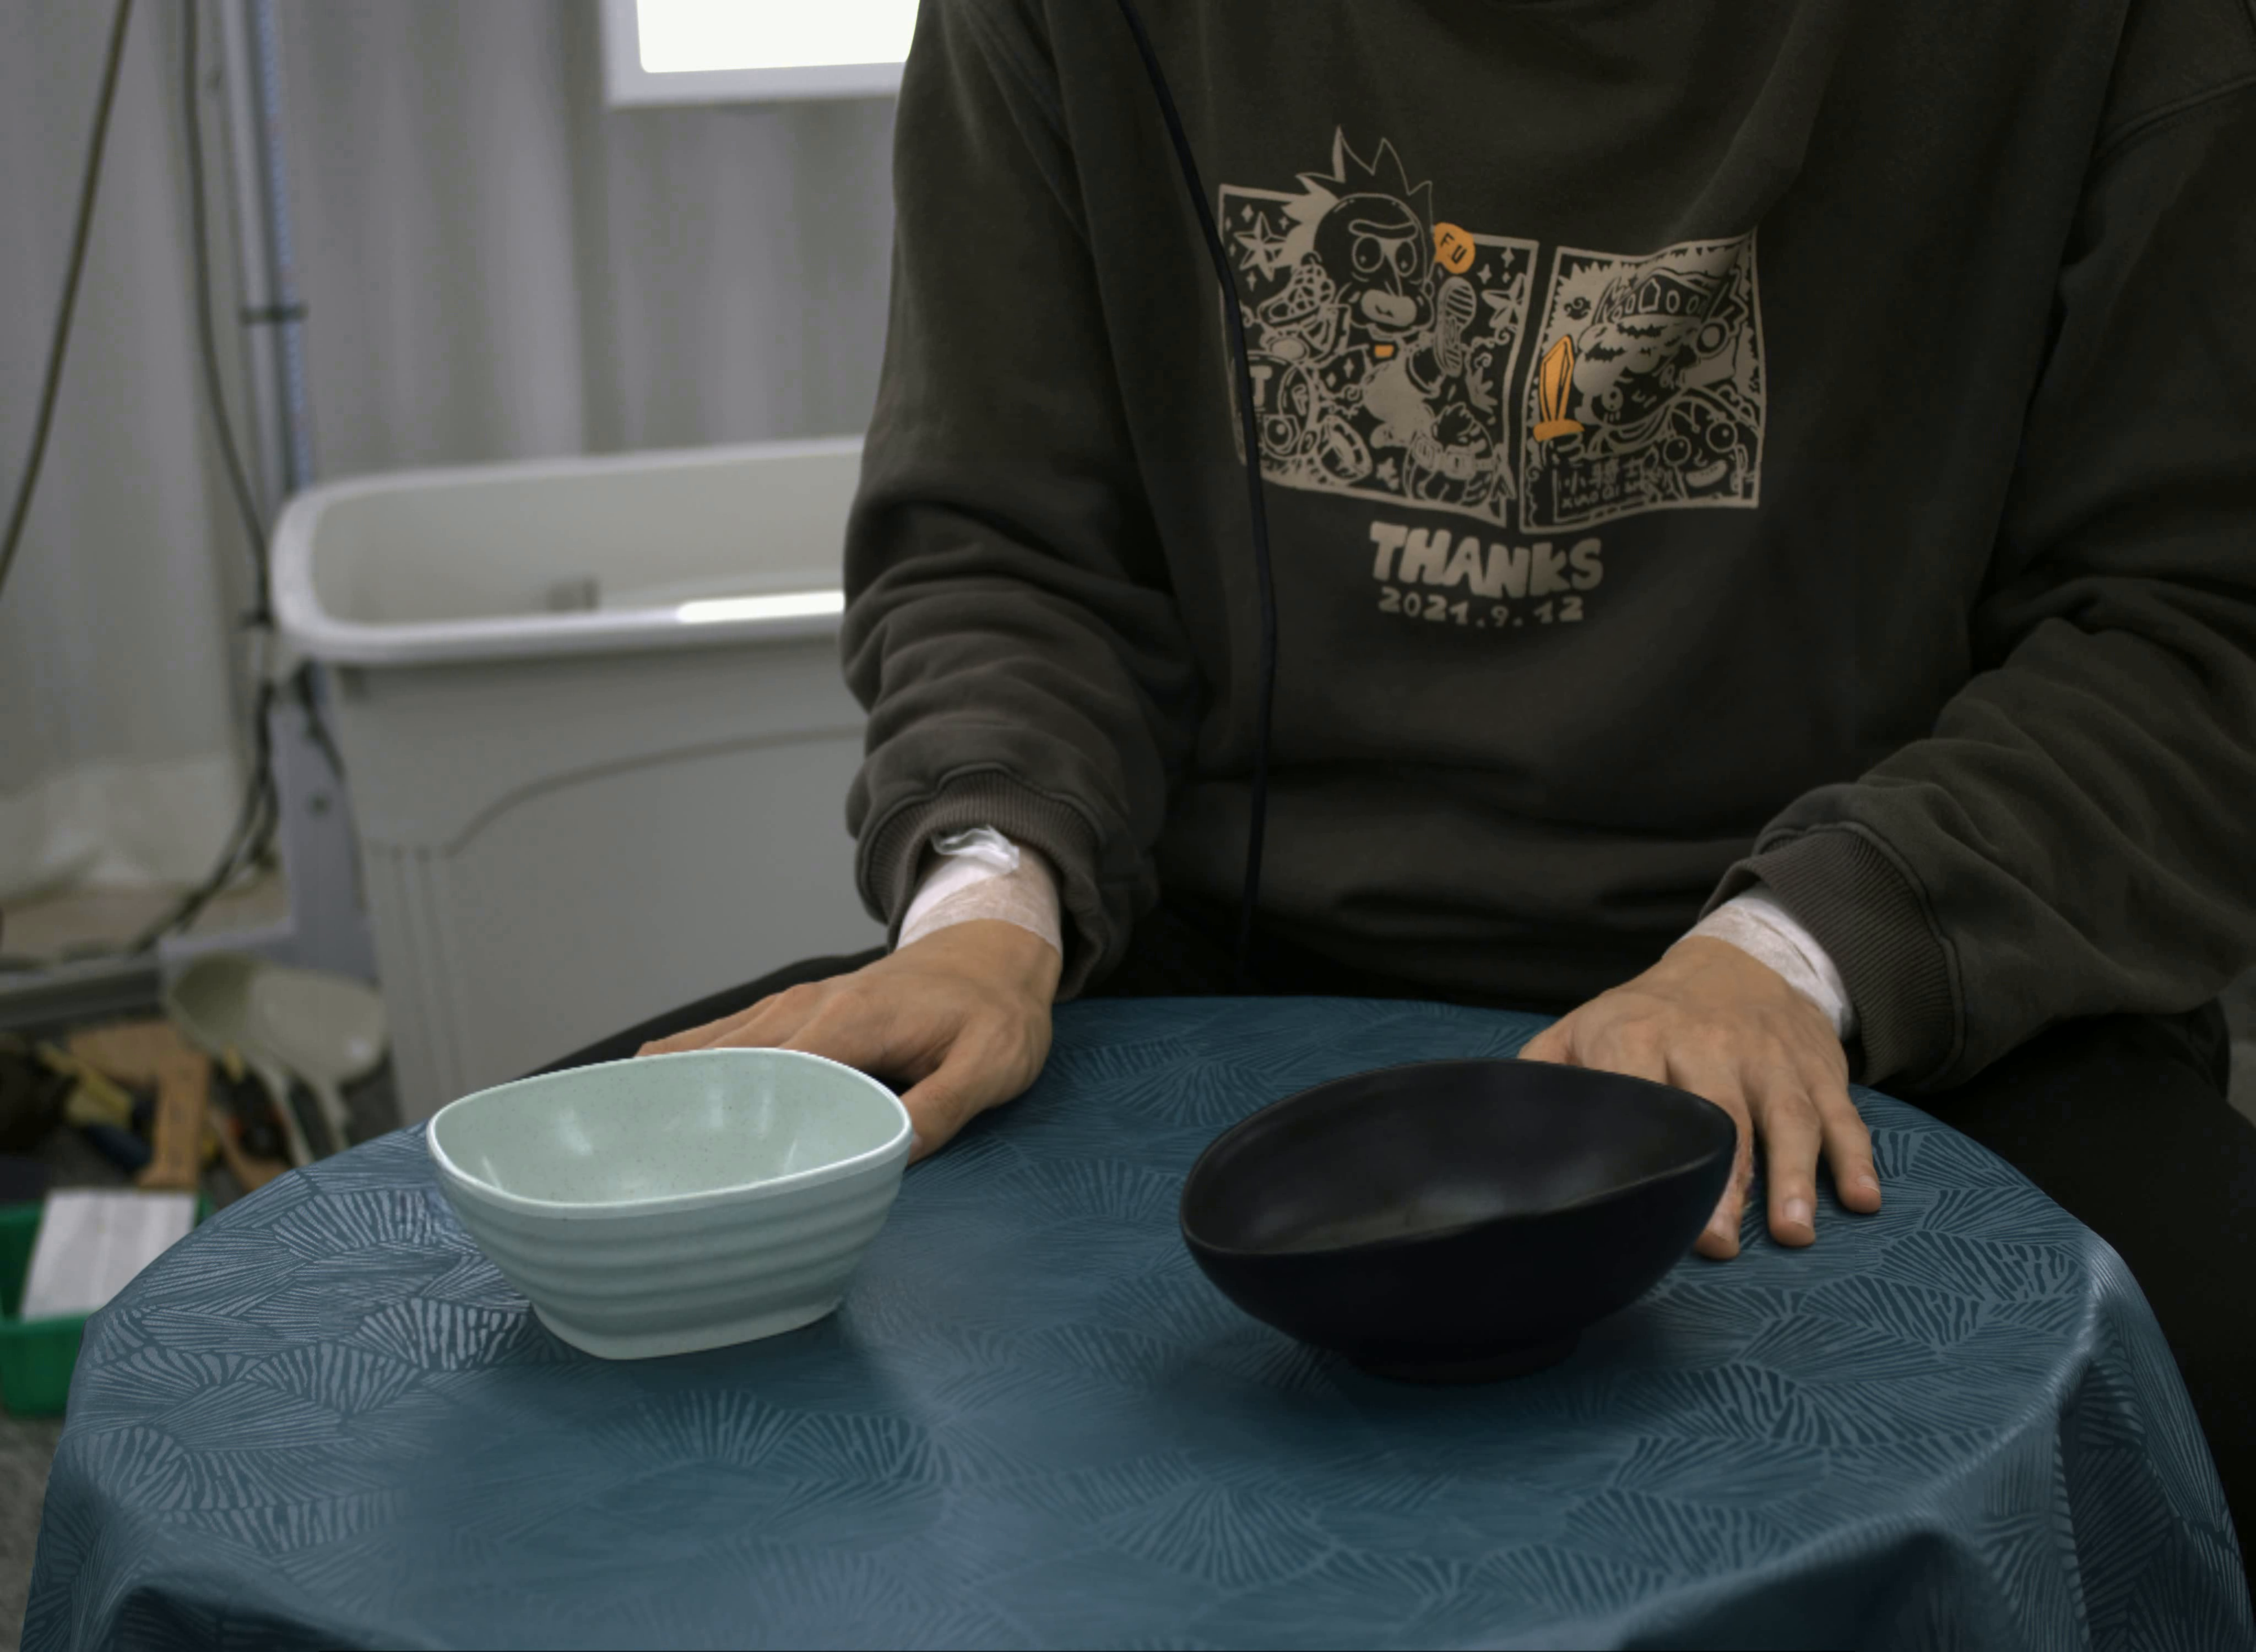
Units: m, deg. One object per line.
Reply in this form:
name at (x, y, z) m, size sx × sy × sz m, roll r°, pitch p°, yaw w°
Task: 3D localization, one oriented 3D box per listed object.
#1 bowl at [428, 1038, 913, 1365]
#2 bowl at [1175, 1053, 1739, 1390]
bowl at (-0.135, 0.116, 1.635) m, size 0.151 × 0.058 × 0.152 m, roll -2°, pitch 17°, yaw 0°
bowl at (0.096, 0.120, 1.565) m, size 0.170 × 0.066 × 0.138 m, roll -13°, pitch 18°, yaw -29°
